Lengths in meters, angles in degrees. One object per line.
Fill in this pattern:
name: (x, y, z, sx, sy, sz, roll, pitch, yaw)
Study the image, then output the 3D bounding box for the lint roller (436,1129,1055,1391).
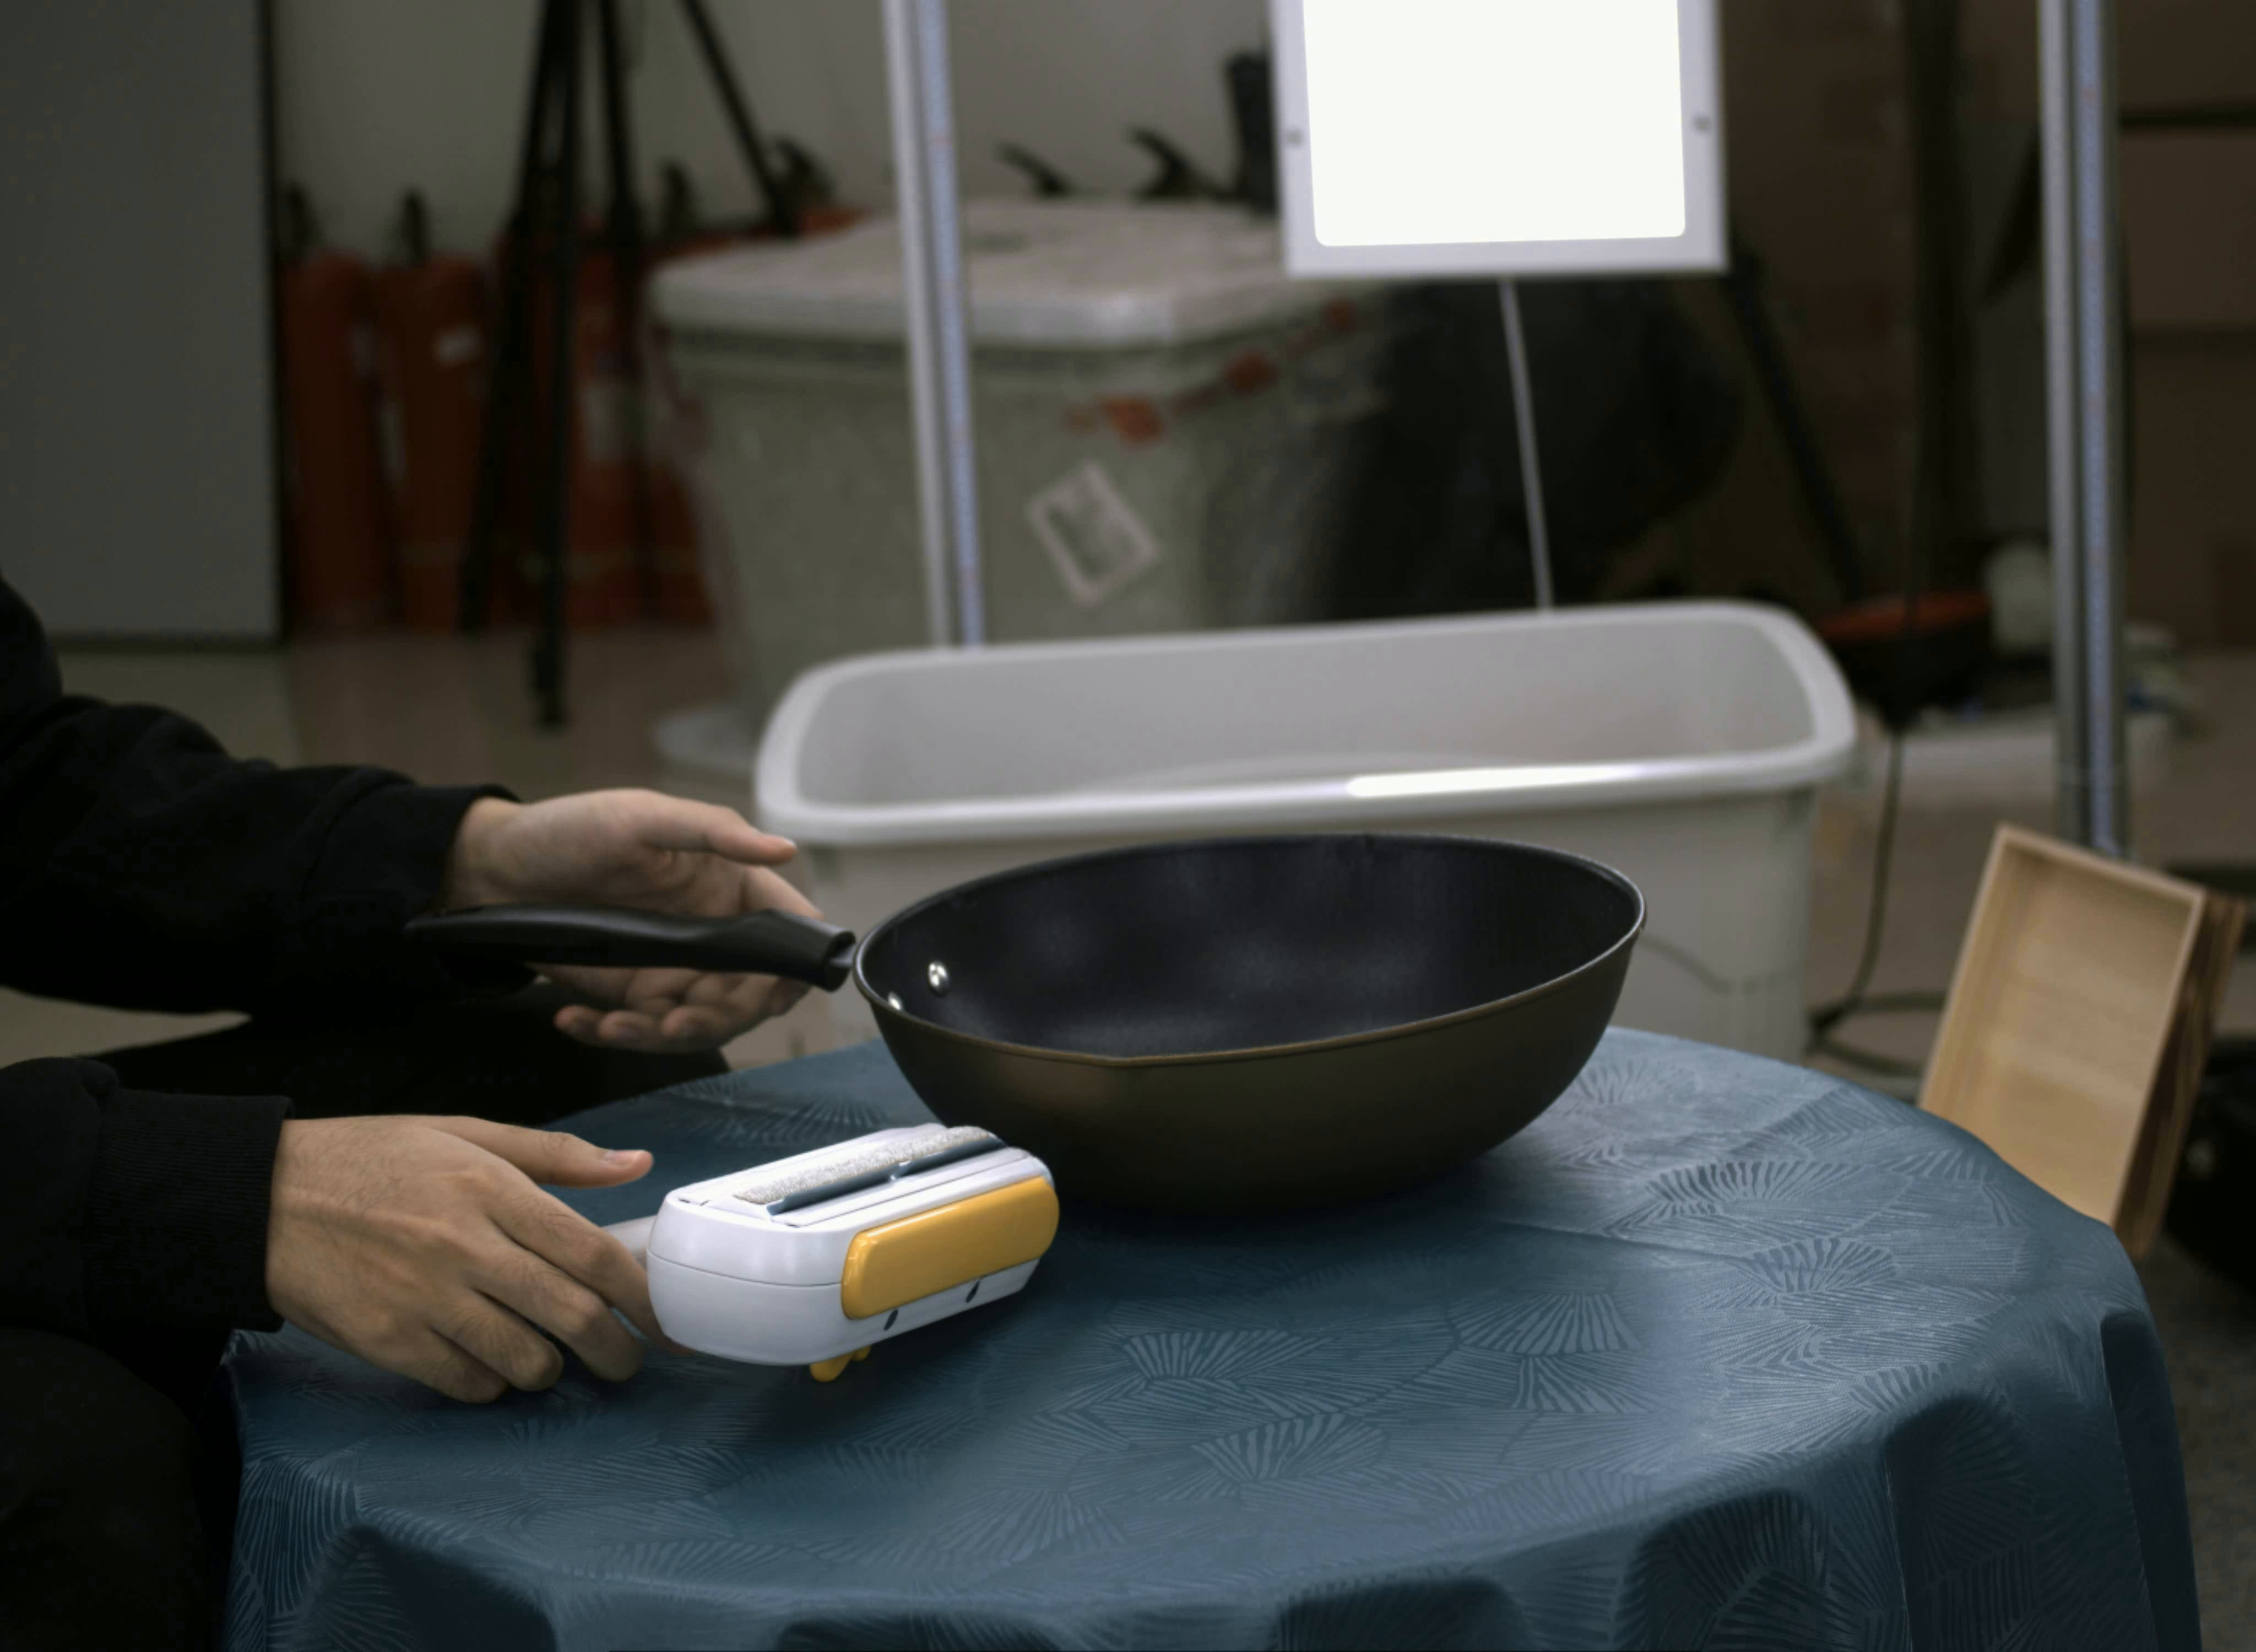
lint roller: (-0.139, 0.137, 1.760, 0.196, 0.074, 0.188, 1, 10, 30)

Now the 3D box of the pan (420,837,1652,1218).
pan: (-0.040, 0.074, 1.951, 0.470, 0.087, 0.283, 0, 15, 22)
